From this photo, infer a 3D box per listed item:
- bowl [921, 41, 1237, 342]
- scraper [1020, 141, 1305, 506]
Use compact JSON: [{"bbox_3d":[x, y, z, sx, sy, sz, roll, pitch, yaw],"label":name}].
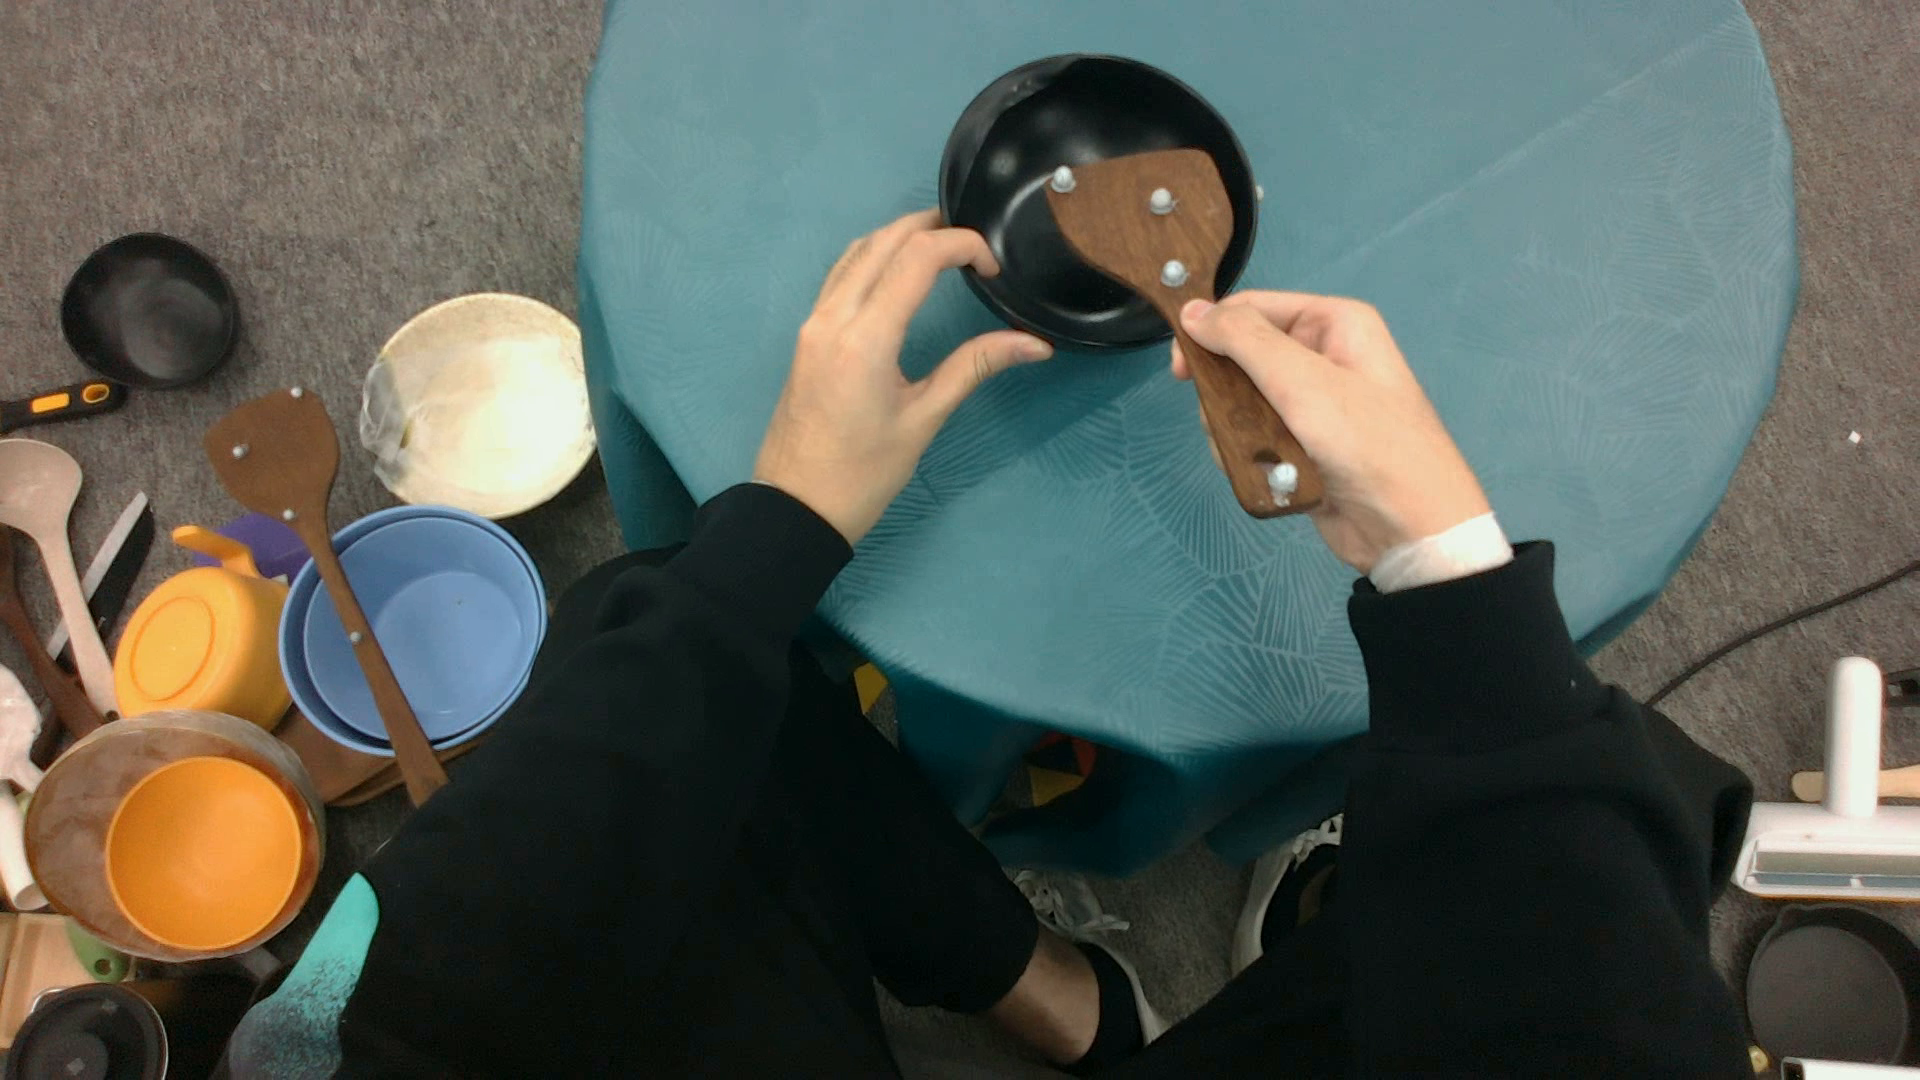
[{"bbox_3d":[0.048,-0.147,0.610,0.140,0.049,0.140,2,75,-9],"label":"bowl"},{"bbox_3d":[0.081,-0.089,0.520,0.076,0.011,0.212,-11,48,-5],"label":"scraper"}]
